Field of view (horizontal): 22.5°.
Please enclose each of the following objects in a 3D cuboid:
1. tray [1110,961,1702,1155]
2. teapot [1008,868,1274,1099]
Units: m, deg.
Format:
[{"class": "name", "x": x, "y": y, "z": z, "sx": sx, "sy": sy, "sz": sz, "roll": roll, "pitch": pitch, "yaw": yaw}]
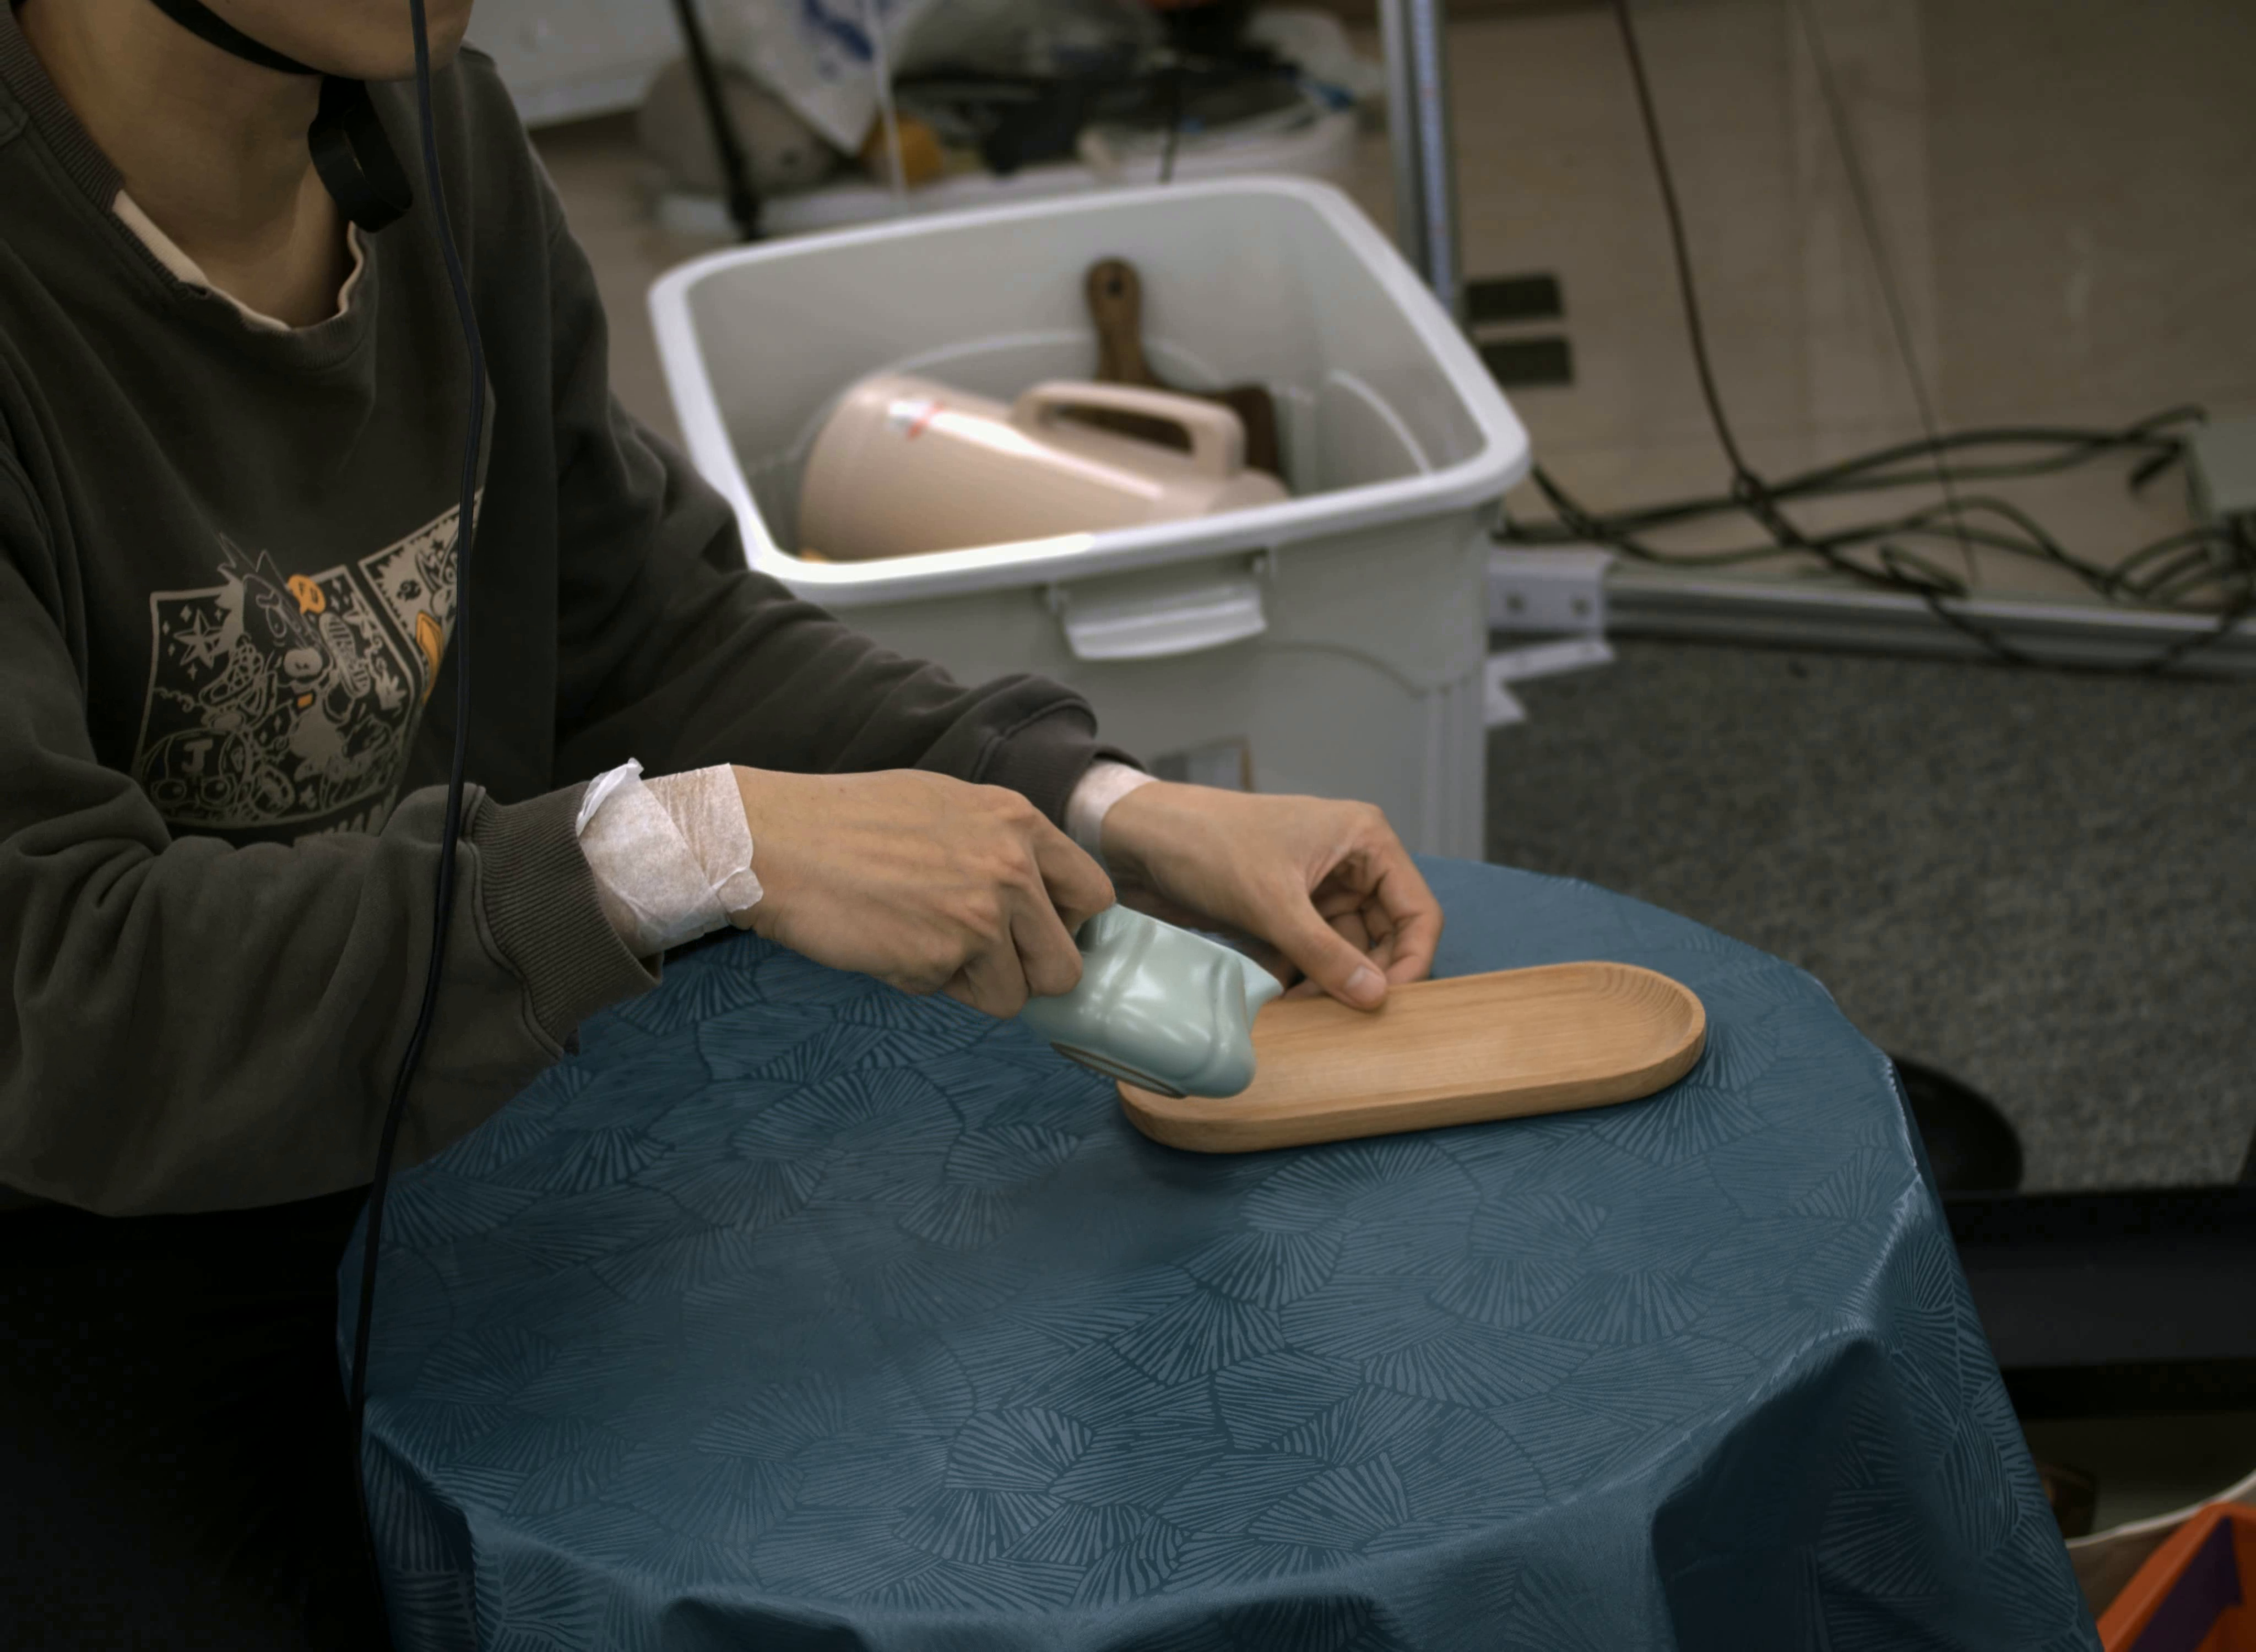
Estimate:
[{"class": "tray", "x": 0.108, "y": 0.091, "z": 2.203, "sx": 0.231, "sy": 0.020, "sz": 0.100, "roll": -9, "pitch": 25, "yaw": -2}, {"class": "teapot", "x": 0.003, "y": 0.062, "z": 2.112, "sx": 0.095, "sy": 0.061, "sz": 0.138, "roll": 18, "pitch": -9, "yaw": 44}]
